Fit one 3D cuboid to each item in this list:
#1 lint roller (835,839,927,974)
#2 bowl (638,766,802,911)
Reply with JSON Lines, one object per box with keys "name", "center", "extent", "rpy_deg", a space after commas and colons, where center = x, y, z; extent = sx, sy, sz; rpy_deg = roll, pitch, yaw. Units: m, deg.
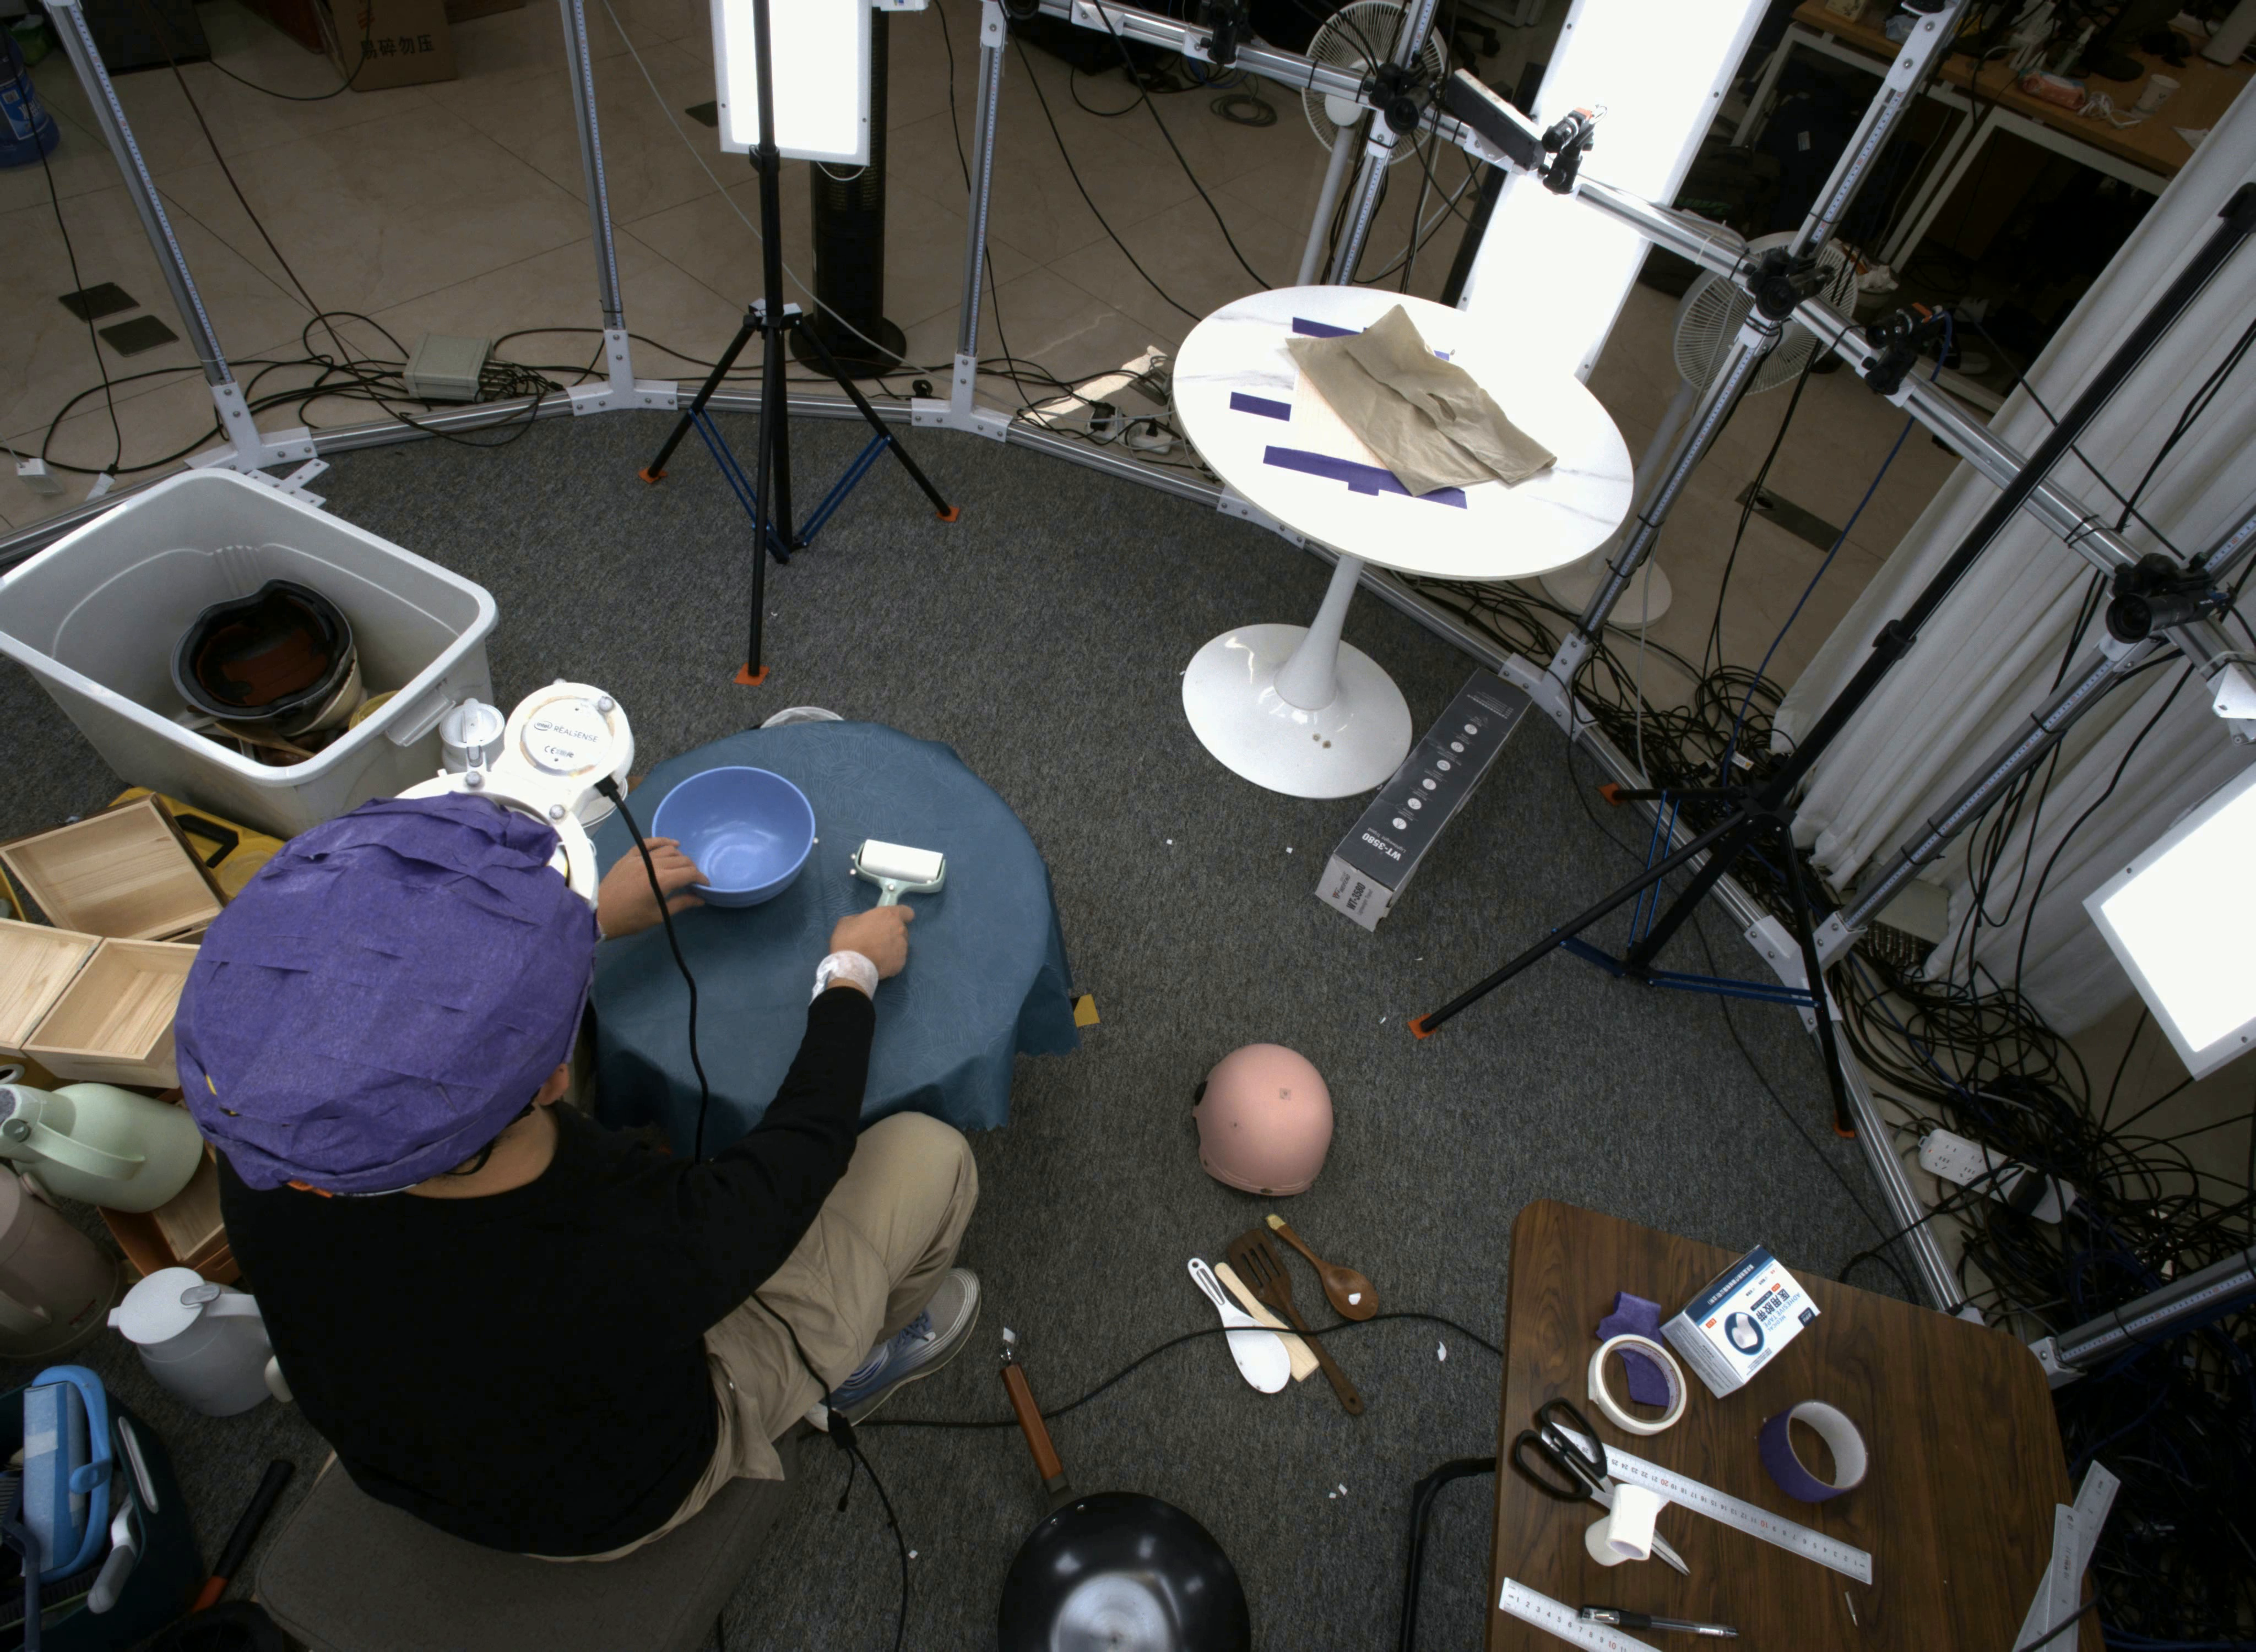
{"name": "lint roller", "center": [-0.322, 0.097, 1.630], "extent": [0.116, 0.049, 0.194], "rpy_deg": [12, 43, -7]}
{"name": "bowl", "center": [-0.507, 0.030, 1.612], "extent": [0.196, 0.097, 0.193], "rpy_deg": [9, 52, -10]}
